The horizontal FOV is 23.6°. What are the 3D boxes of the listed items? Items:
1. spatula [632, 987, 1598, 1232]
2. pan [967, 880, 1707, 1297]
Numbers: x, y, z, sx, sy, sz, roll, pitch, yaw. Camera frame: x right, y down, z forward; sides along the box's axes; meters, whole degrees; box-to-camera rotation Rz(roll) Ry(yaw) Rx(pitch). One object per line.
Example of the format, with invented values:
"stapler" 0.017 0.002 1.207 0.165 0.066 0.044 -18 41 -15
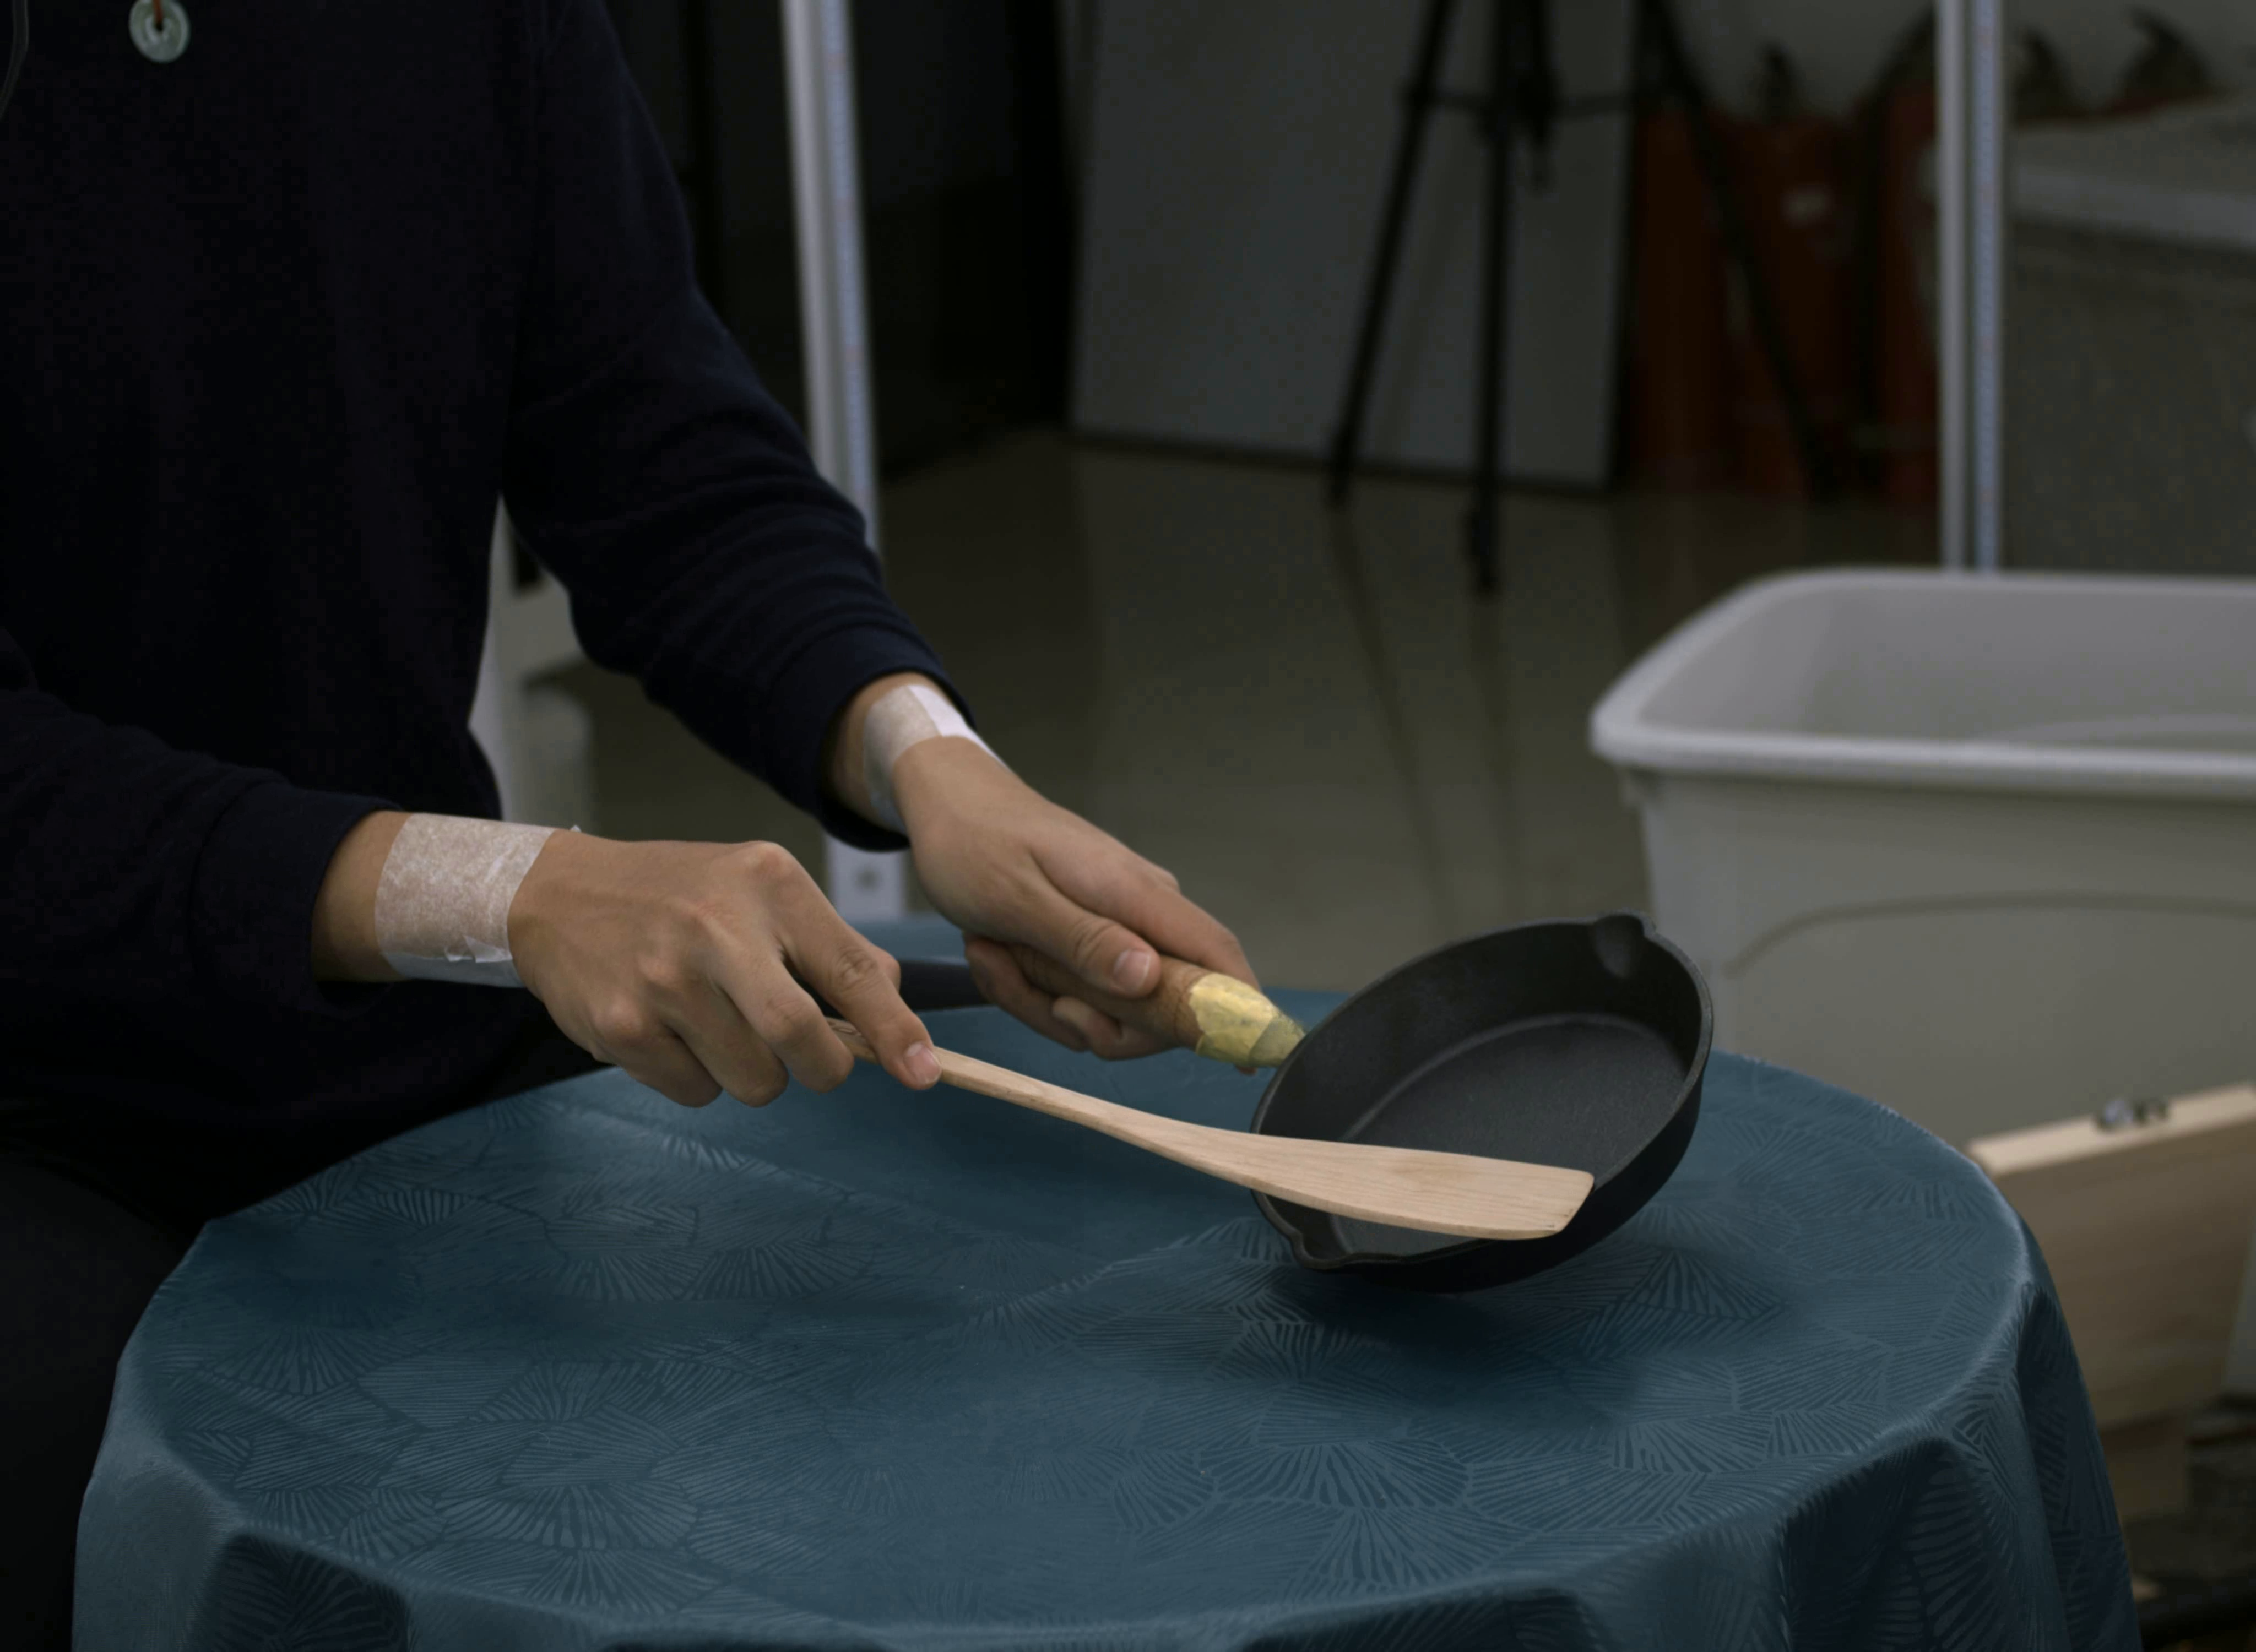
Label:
"spatula" -0.008 0.083 1.647 0.328 0.017 0.079 13 14 24
"pan" 0.058 0.070 1.741 0.167 0.049 0.327 -45 35 -23
